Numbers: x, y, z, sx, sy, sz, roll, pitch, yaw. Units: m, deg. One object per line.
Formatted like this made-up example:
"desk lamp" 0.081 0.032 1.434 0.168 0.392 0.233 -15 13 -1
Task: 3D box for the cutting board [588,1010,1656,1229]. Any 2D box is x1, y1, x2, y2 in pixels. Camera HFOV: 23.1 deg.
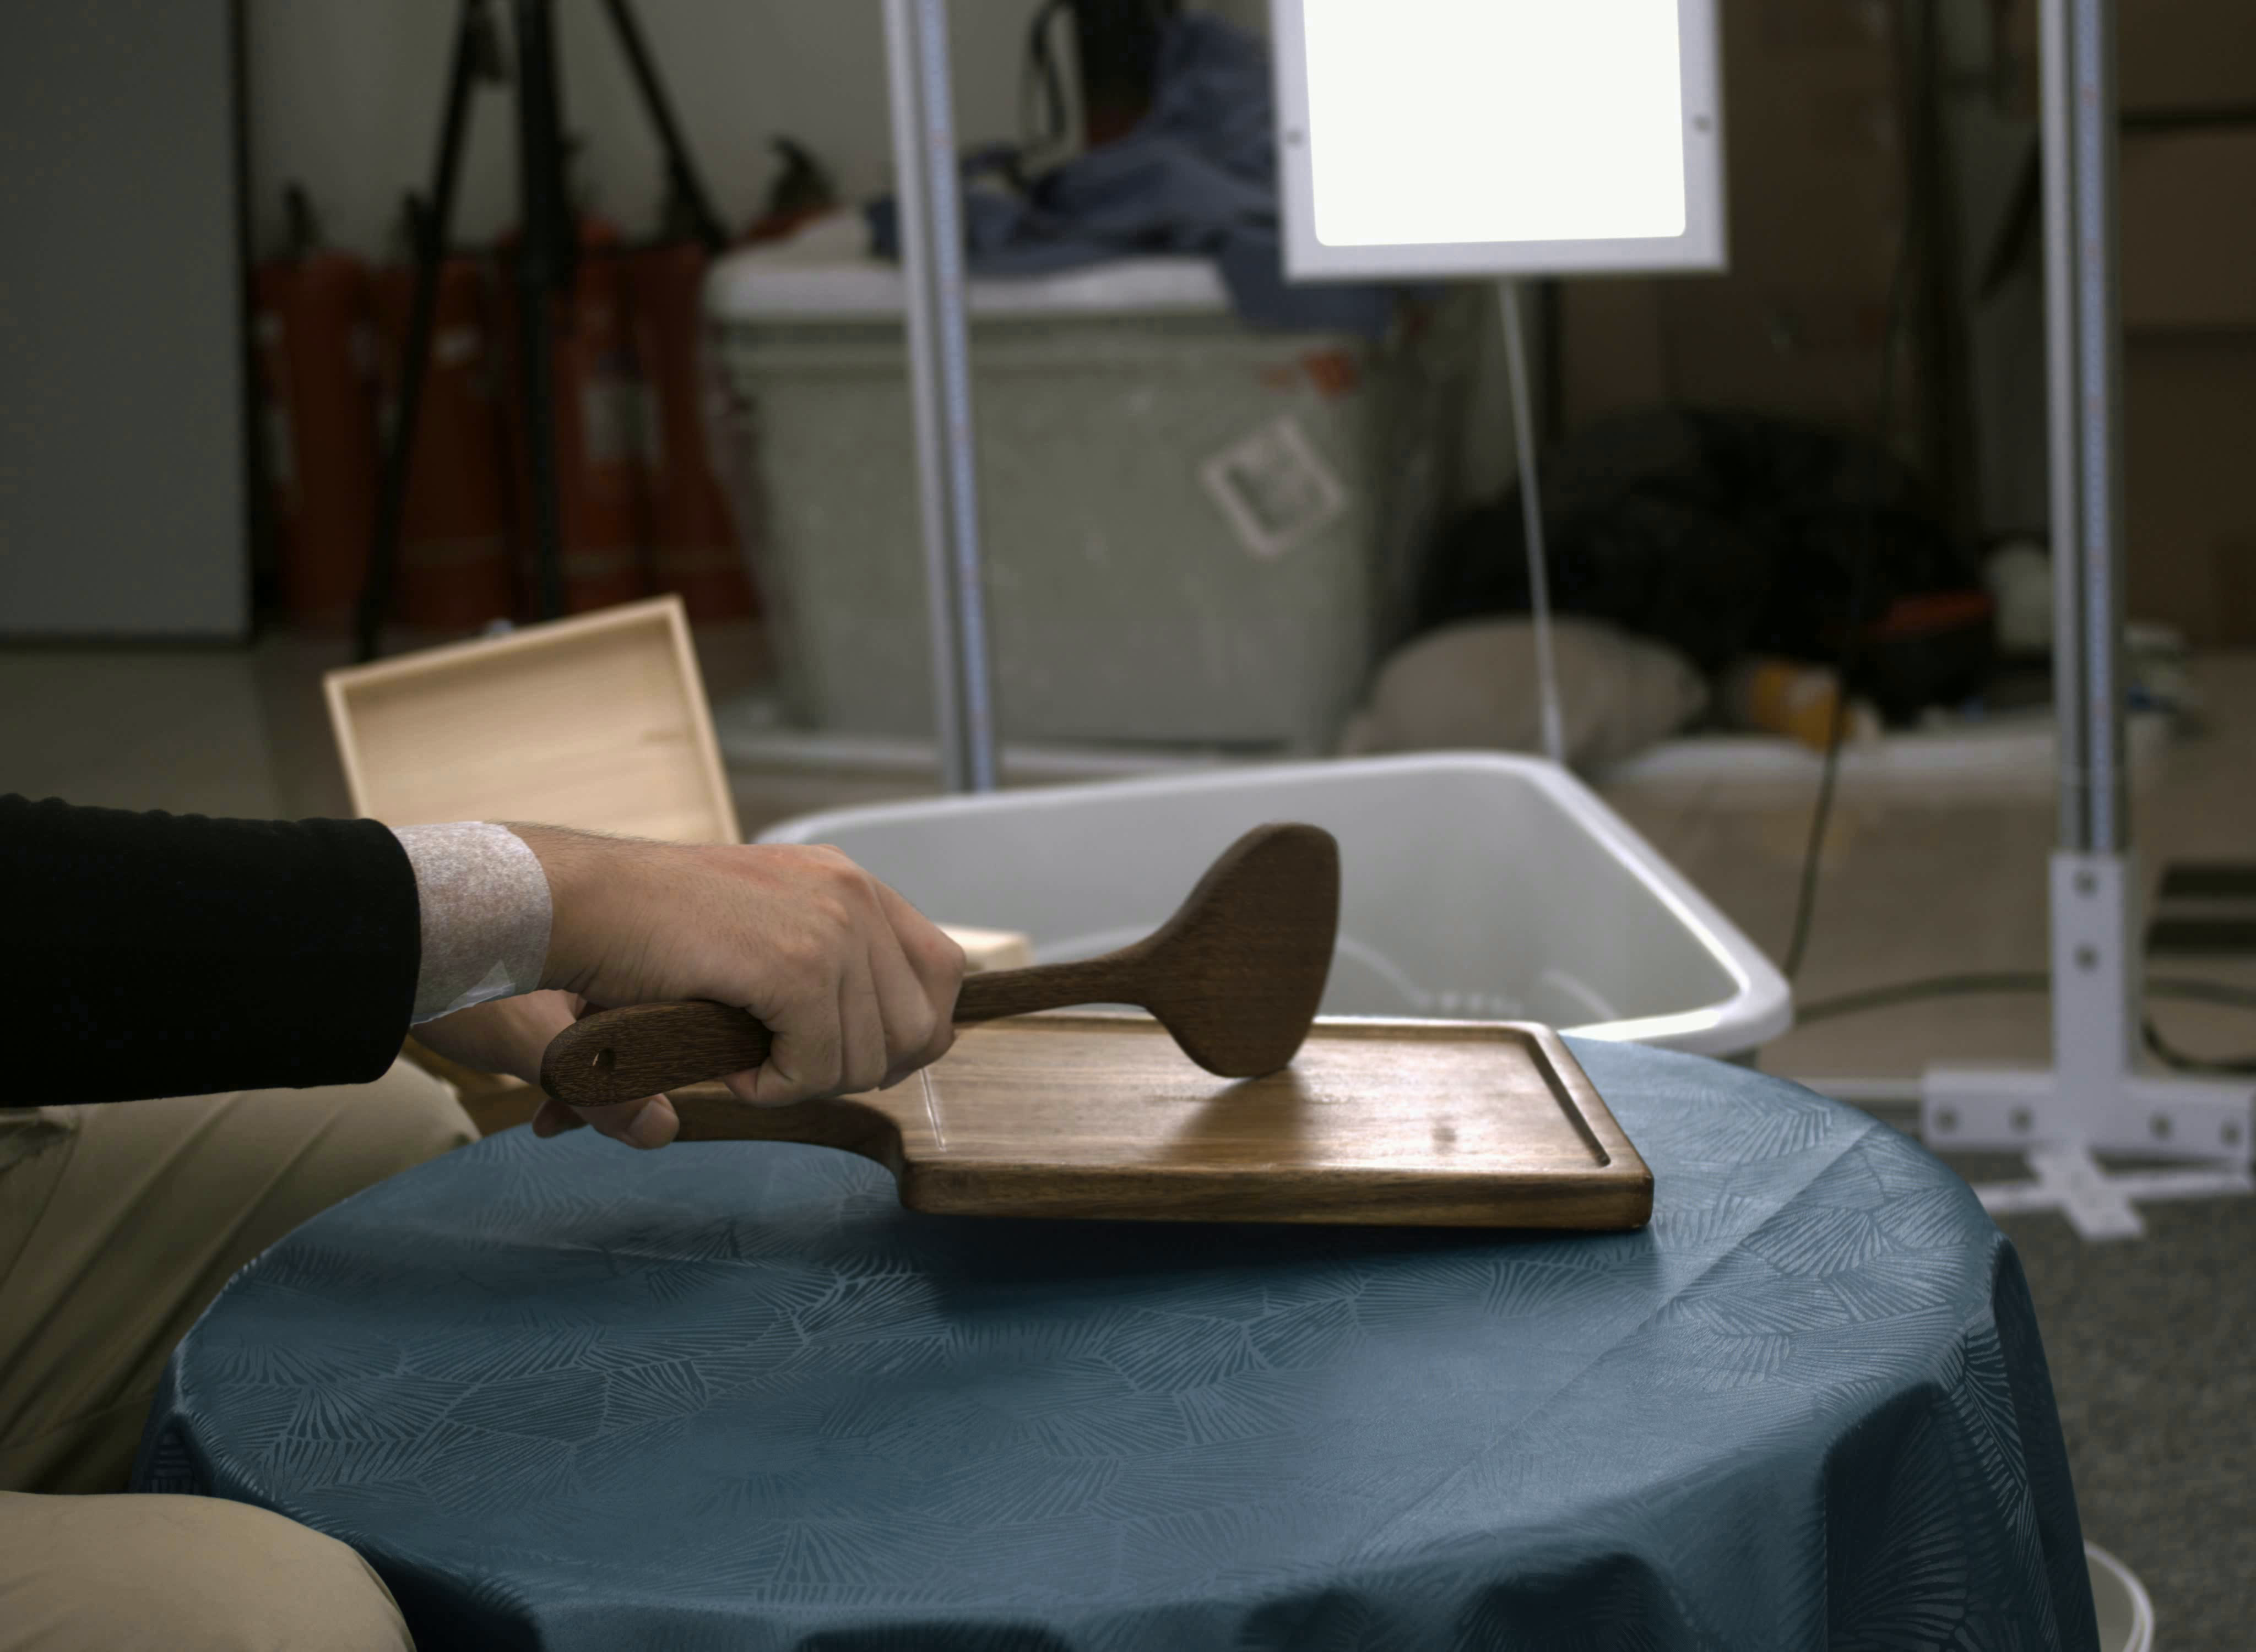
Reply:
"cutting board" -0.009 0.098 1.886 0.350 0.023 0.201 1 13 -5

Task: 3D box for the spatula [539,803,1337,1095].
"spatula" -0.053 0.053 1.797 0.016 0.096 0.376 18 17 40
